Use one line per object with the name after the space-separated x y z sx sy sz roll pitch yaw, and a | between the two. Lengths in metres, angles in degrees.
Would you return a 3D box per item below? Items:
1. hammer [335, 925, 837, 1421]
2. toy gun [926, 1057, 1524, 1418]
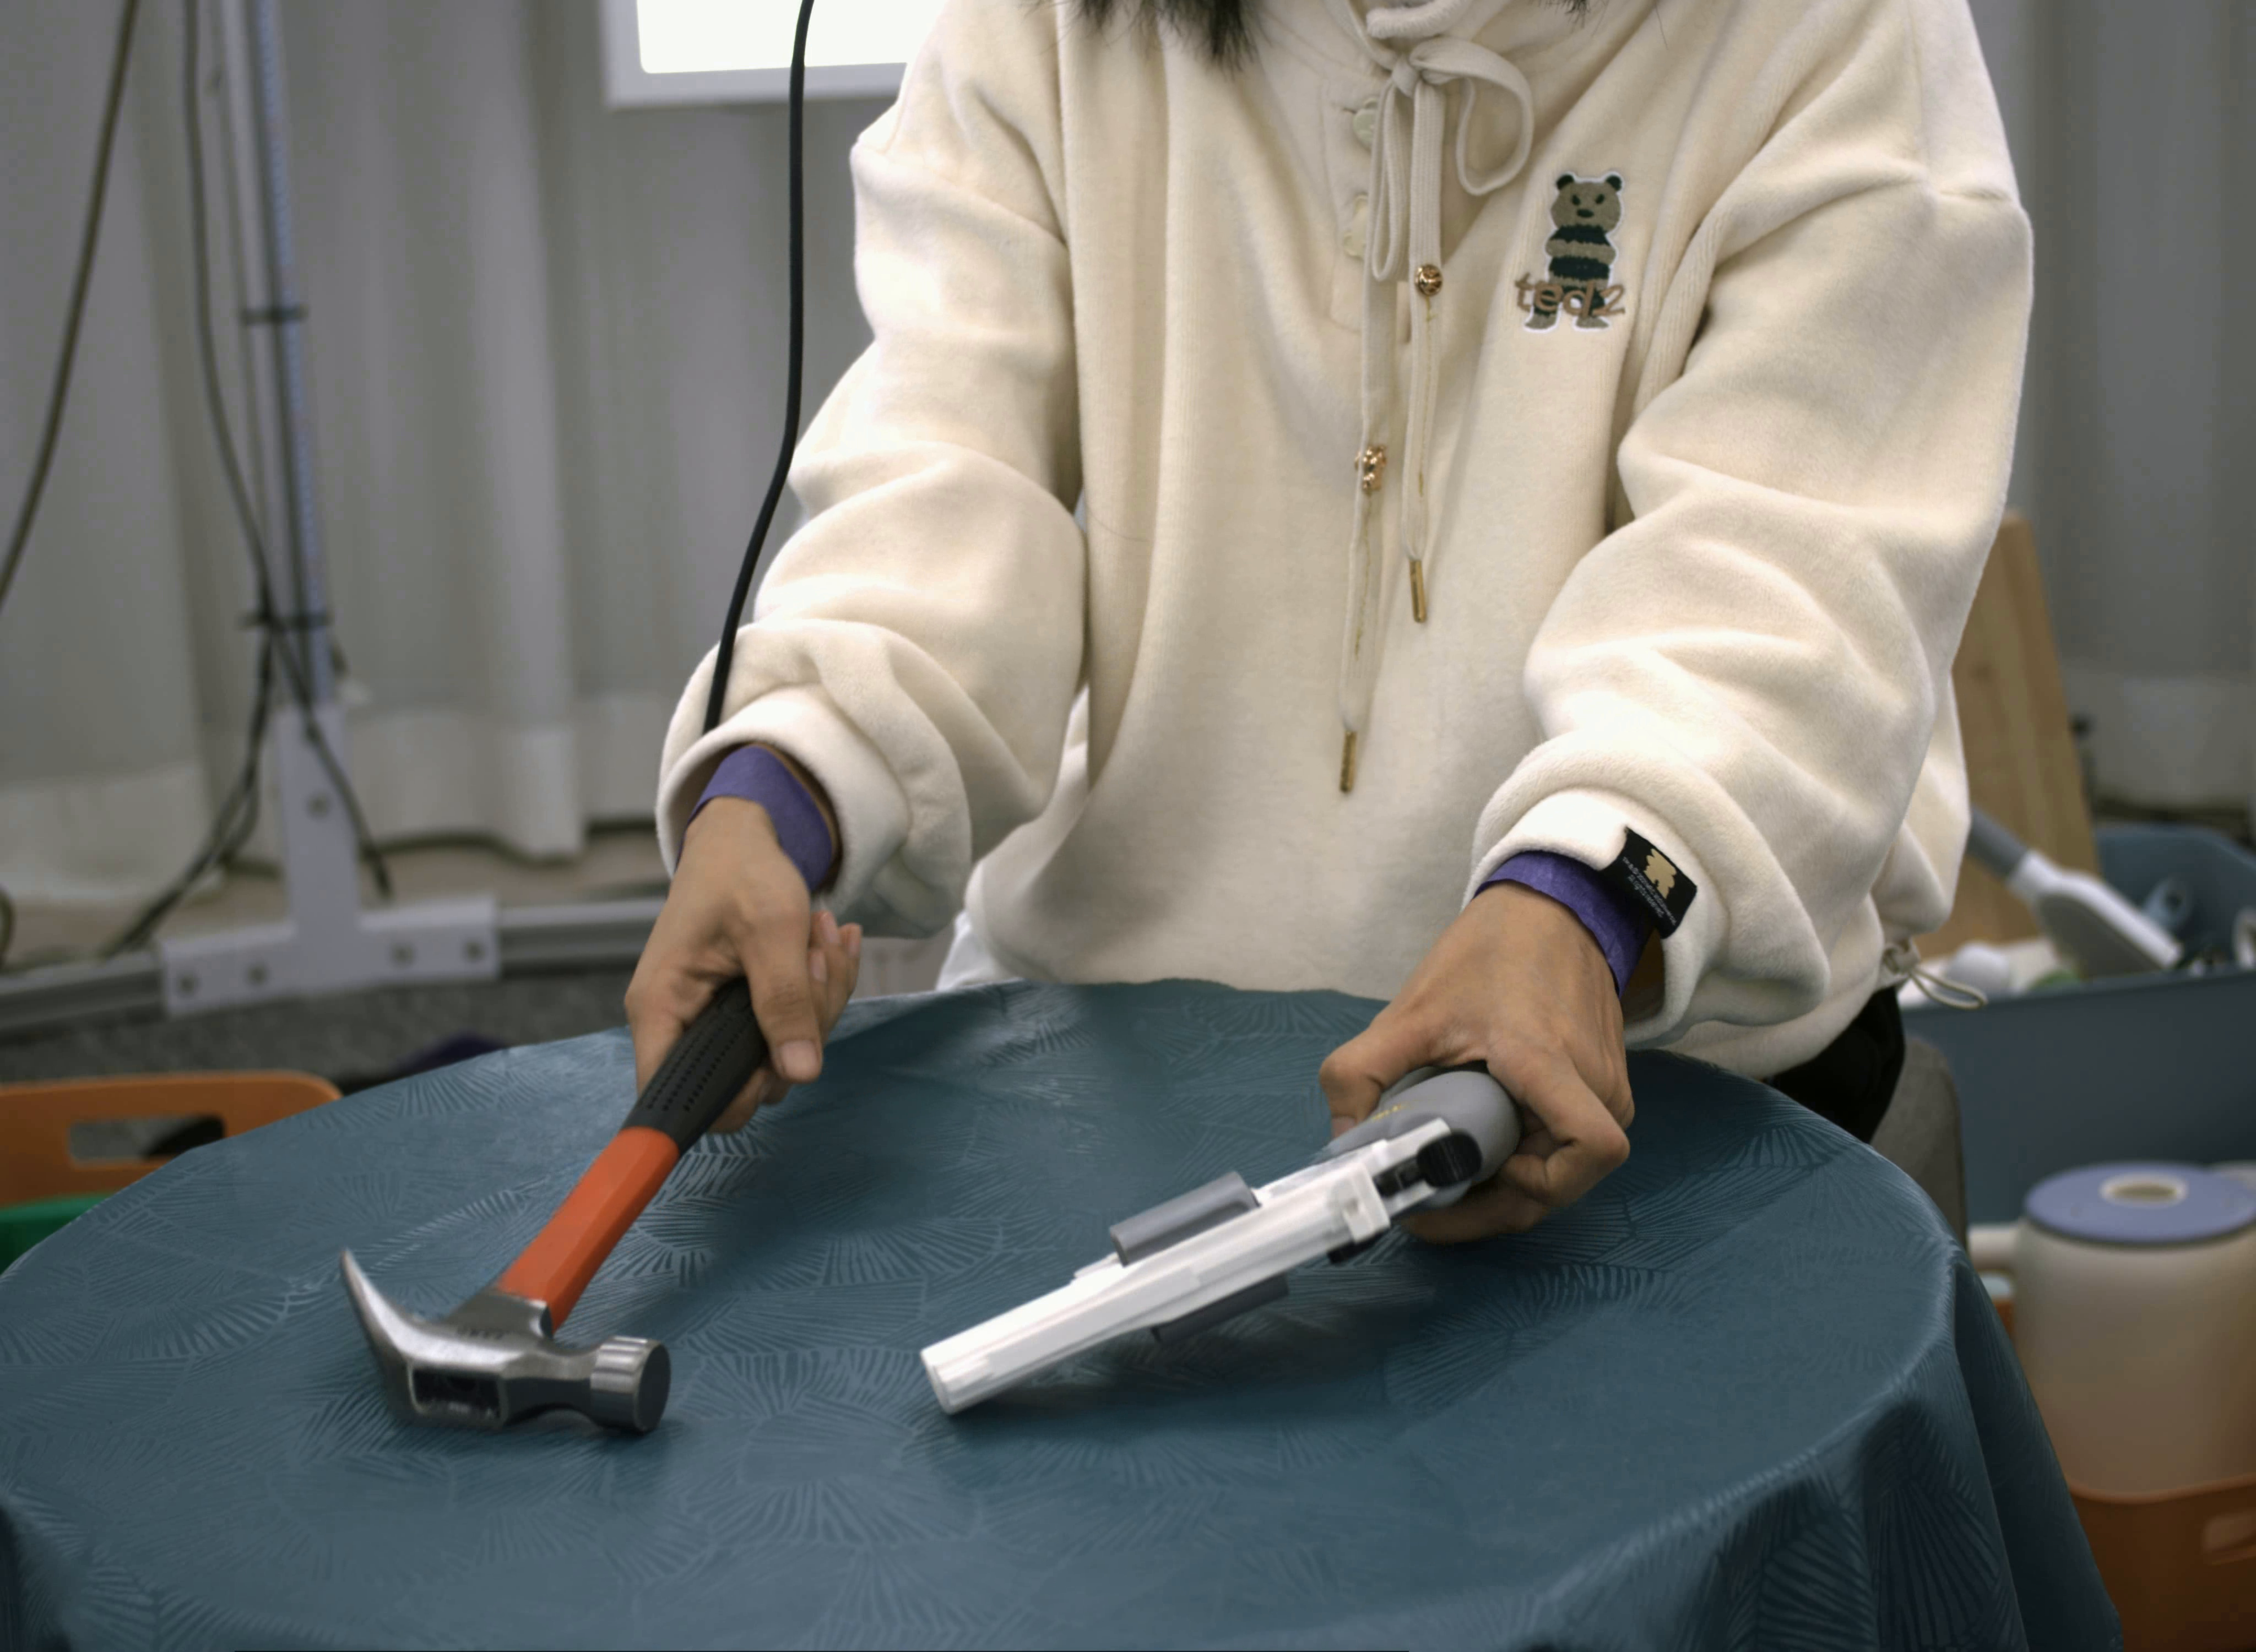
-0.149 0.100 1.651 0.110 0.026 0.279 -5 23 21 | hammer
0.033 0.118 1.588 0.209 0.039 0.141 -23 1 -9 | toy gun
